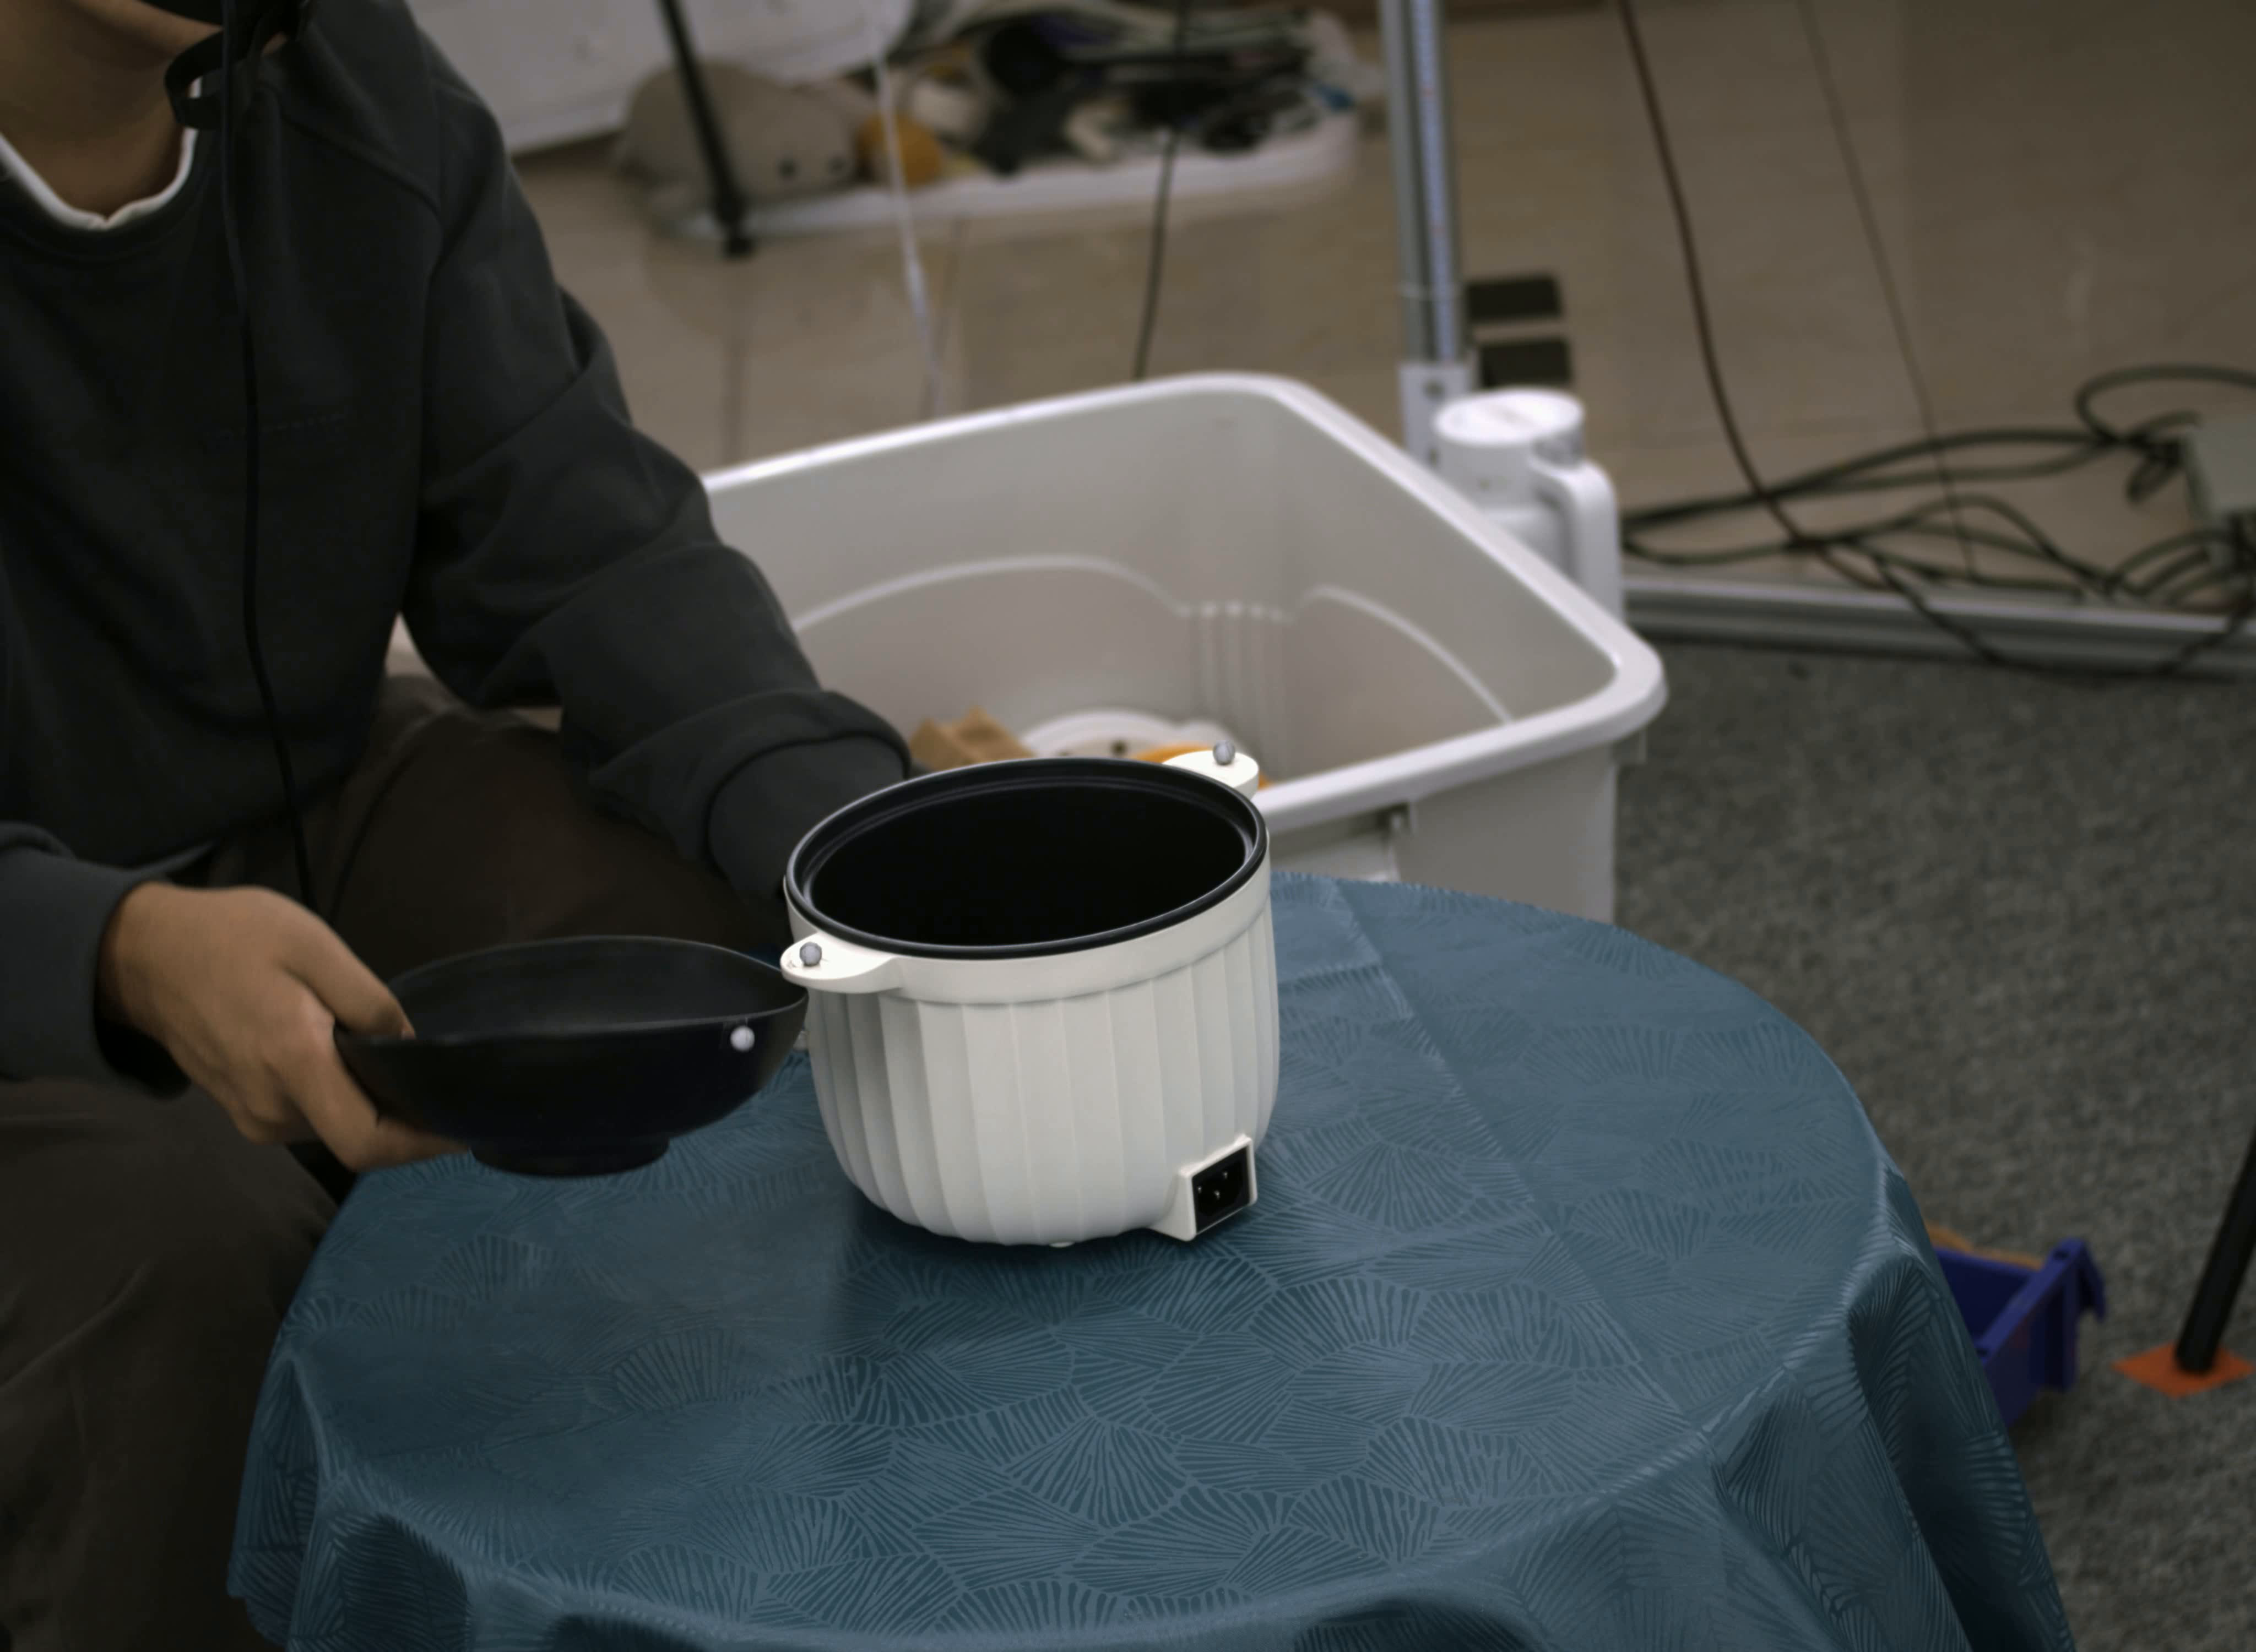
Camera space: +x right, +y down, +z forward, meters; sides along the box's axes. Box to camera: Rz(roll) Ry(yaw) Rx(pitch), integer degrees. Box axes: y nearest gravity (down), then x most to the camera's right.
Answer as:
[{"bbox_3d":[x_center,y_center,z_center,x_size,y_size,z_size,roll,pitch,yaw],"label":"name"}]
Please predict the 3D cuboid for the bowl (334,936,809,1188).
[{"bbox_3d":[-0.198,0.089,2.029,0.170,0.067,0.136,-4,14,-7],"label":"bowl"}]

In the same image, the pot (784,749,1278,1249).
[{"bbox_3d":[-0.038,0.069,2.139,0.189,0.145,0.238,20,33,38],"label":"pot"}]
